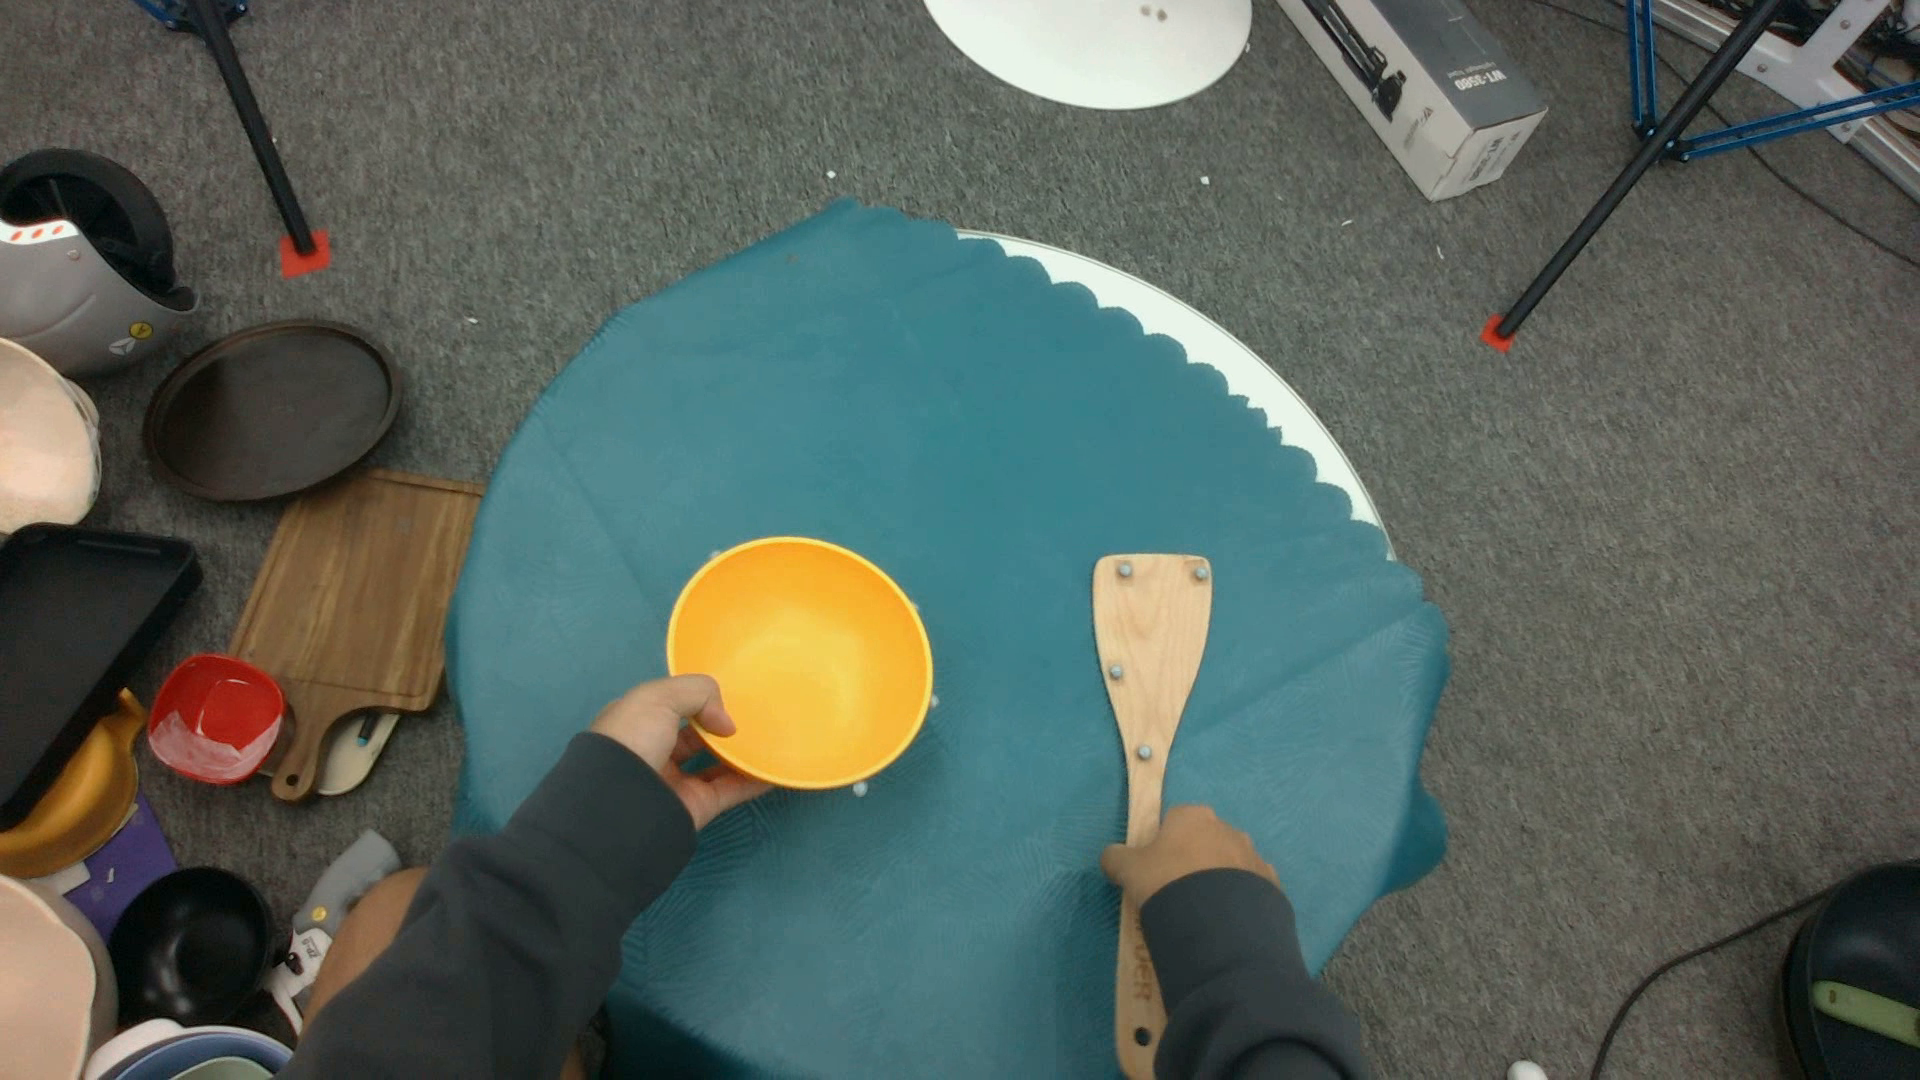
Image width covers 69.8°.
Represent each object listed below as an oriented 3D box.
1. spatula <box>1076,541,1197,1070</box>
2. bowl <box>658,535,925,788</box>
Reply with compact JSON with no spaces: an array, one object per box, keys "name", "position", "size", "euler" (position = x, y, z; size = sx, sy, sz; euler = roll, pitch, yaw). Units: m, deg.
[{"name":"spatula","position":[0.103,0.137,0.804],"size":[0.080,0.016,0.329],"euler":[9,56,-6]},{"name":"bowl","position":[-0.096,0.074,0.748],"size":[0.145,0.060,0.146],"euler":[10,58,-17]}]
